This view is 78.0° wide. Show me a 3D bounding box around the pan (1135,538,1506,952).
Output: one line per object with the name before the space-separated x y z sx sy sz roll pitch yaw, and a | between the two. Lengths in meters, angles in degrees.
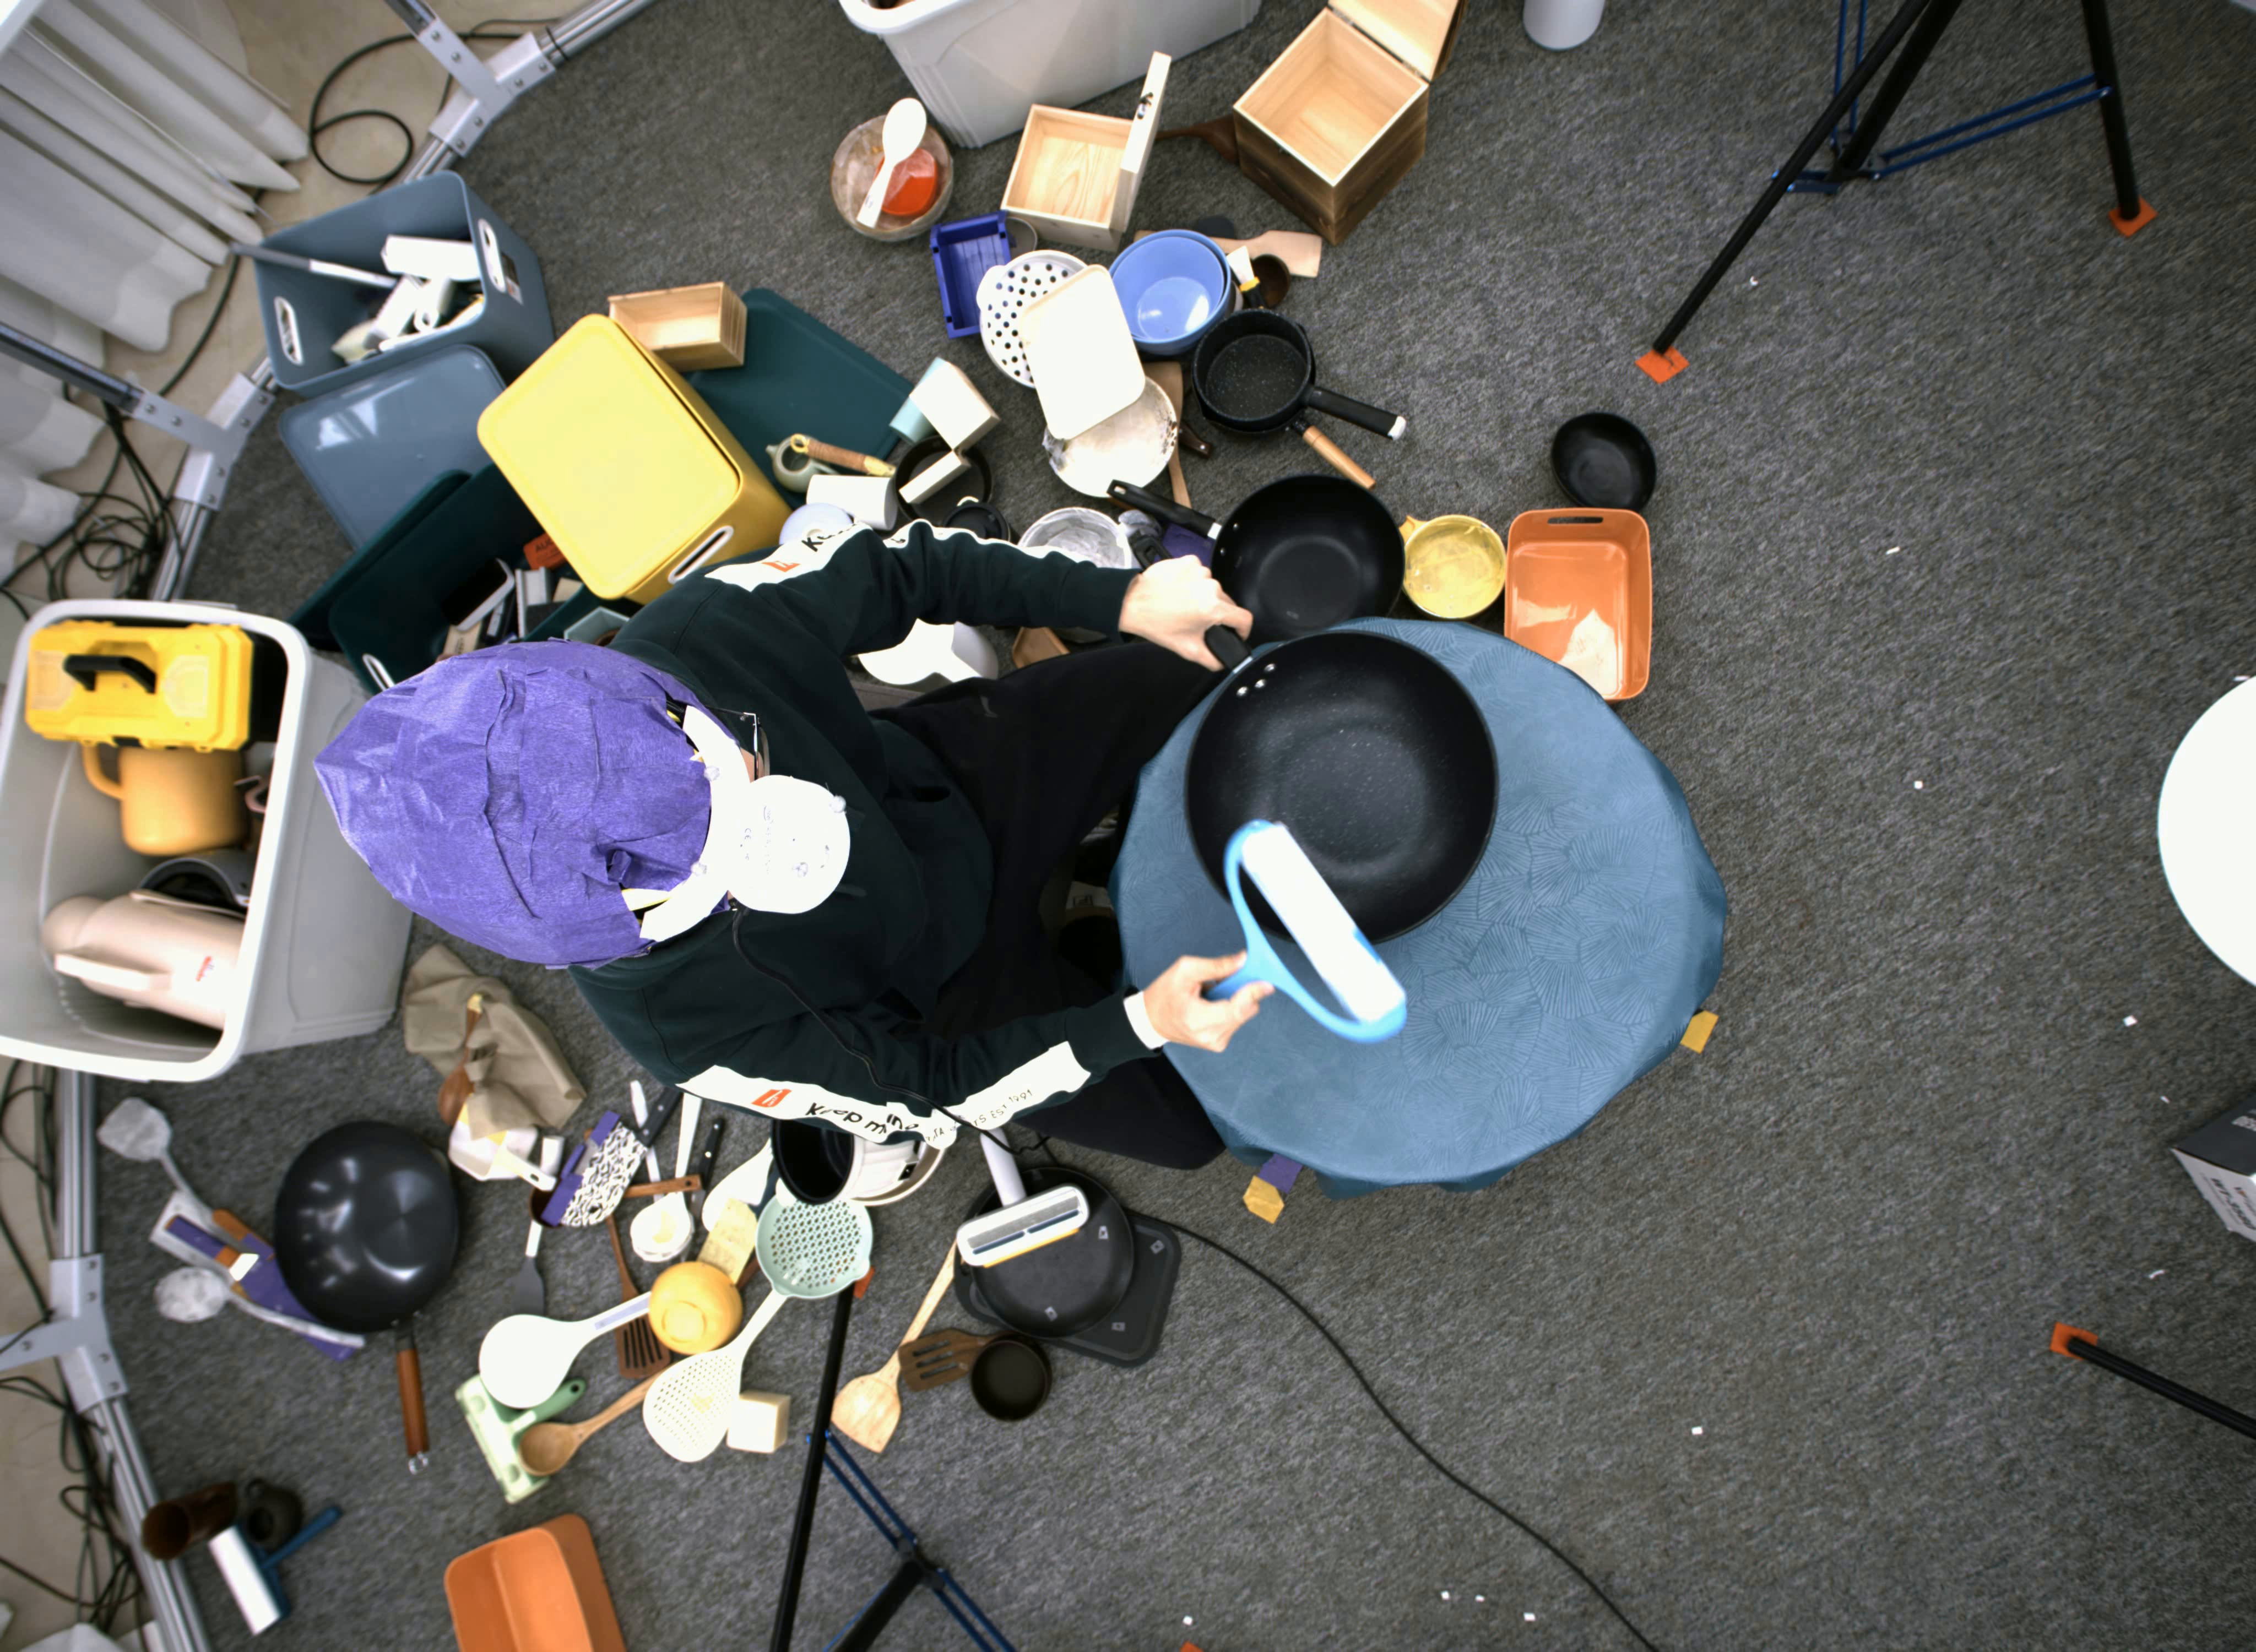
pan | 0.164 -0.094 1.360 0.314 0.111 0.473 -40 75 15

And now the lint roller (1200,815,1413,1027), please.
lint roller | 0.131 0.121 1.260 0.182 0.067 0.227 -45 79 14
